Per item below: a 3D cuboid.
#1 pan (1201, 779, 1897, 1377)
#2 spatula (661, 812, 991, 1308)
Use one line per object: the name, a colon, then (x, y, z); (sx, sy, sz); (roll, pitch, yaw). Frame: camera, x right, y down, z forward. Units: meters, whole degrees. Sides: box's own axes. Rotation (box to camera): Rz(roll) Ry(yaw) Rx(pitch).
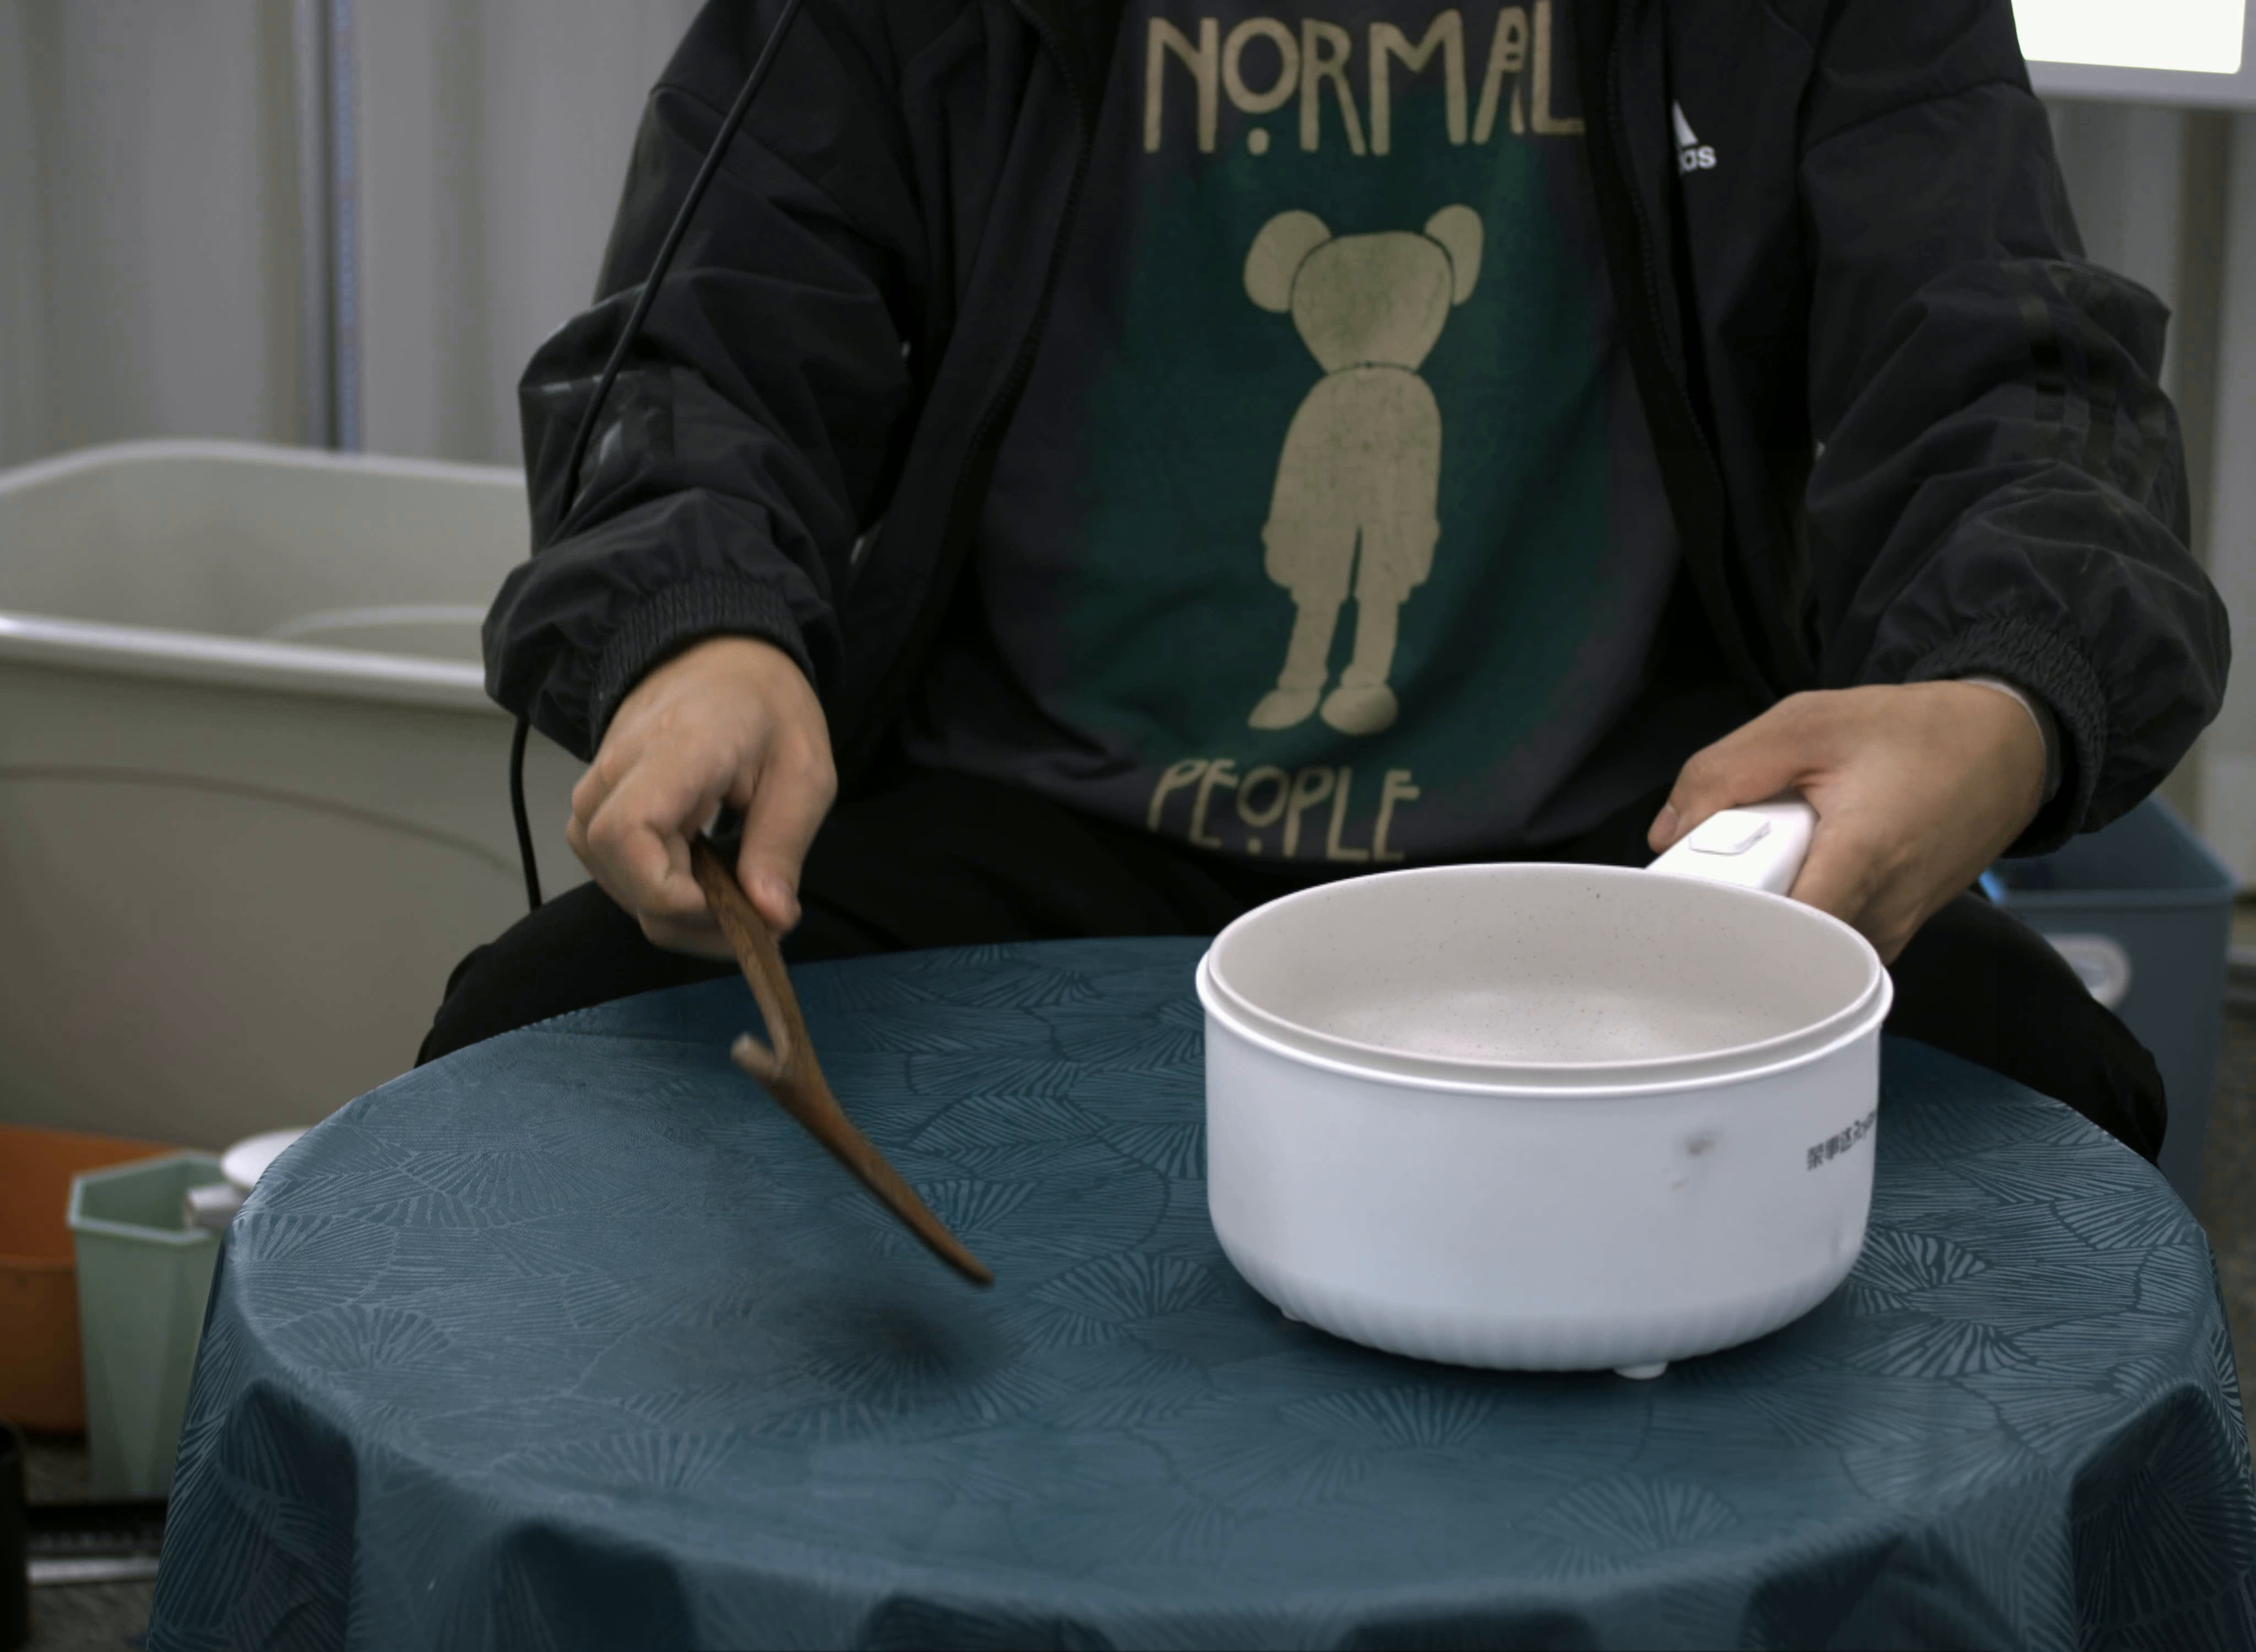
pan: (0.155, 0.070, 1.598); (0.199, 0.103, 0.356); (7, 16, 25)
spatula: (-0.109, 0.056, 1.624); (0.016, 0.097, 0.382); (-43, 21, 3)
